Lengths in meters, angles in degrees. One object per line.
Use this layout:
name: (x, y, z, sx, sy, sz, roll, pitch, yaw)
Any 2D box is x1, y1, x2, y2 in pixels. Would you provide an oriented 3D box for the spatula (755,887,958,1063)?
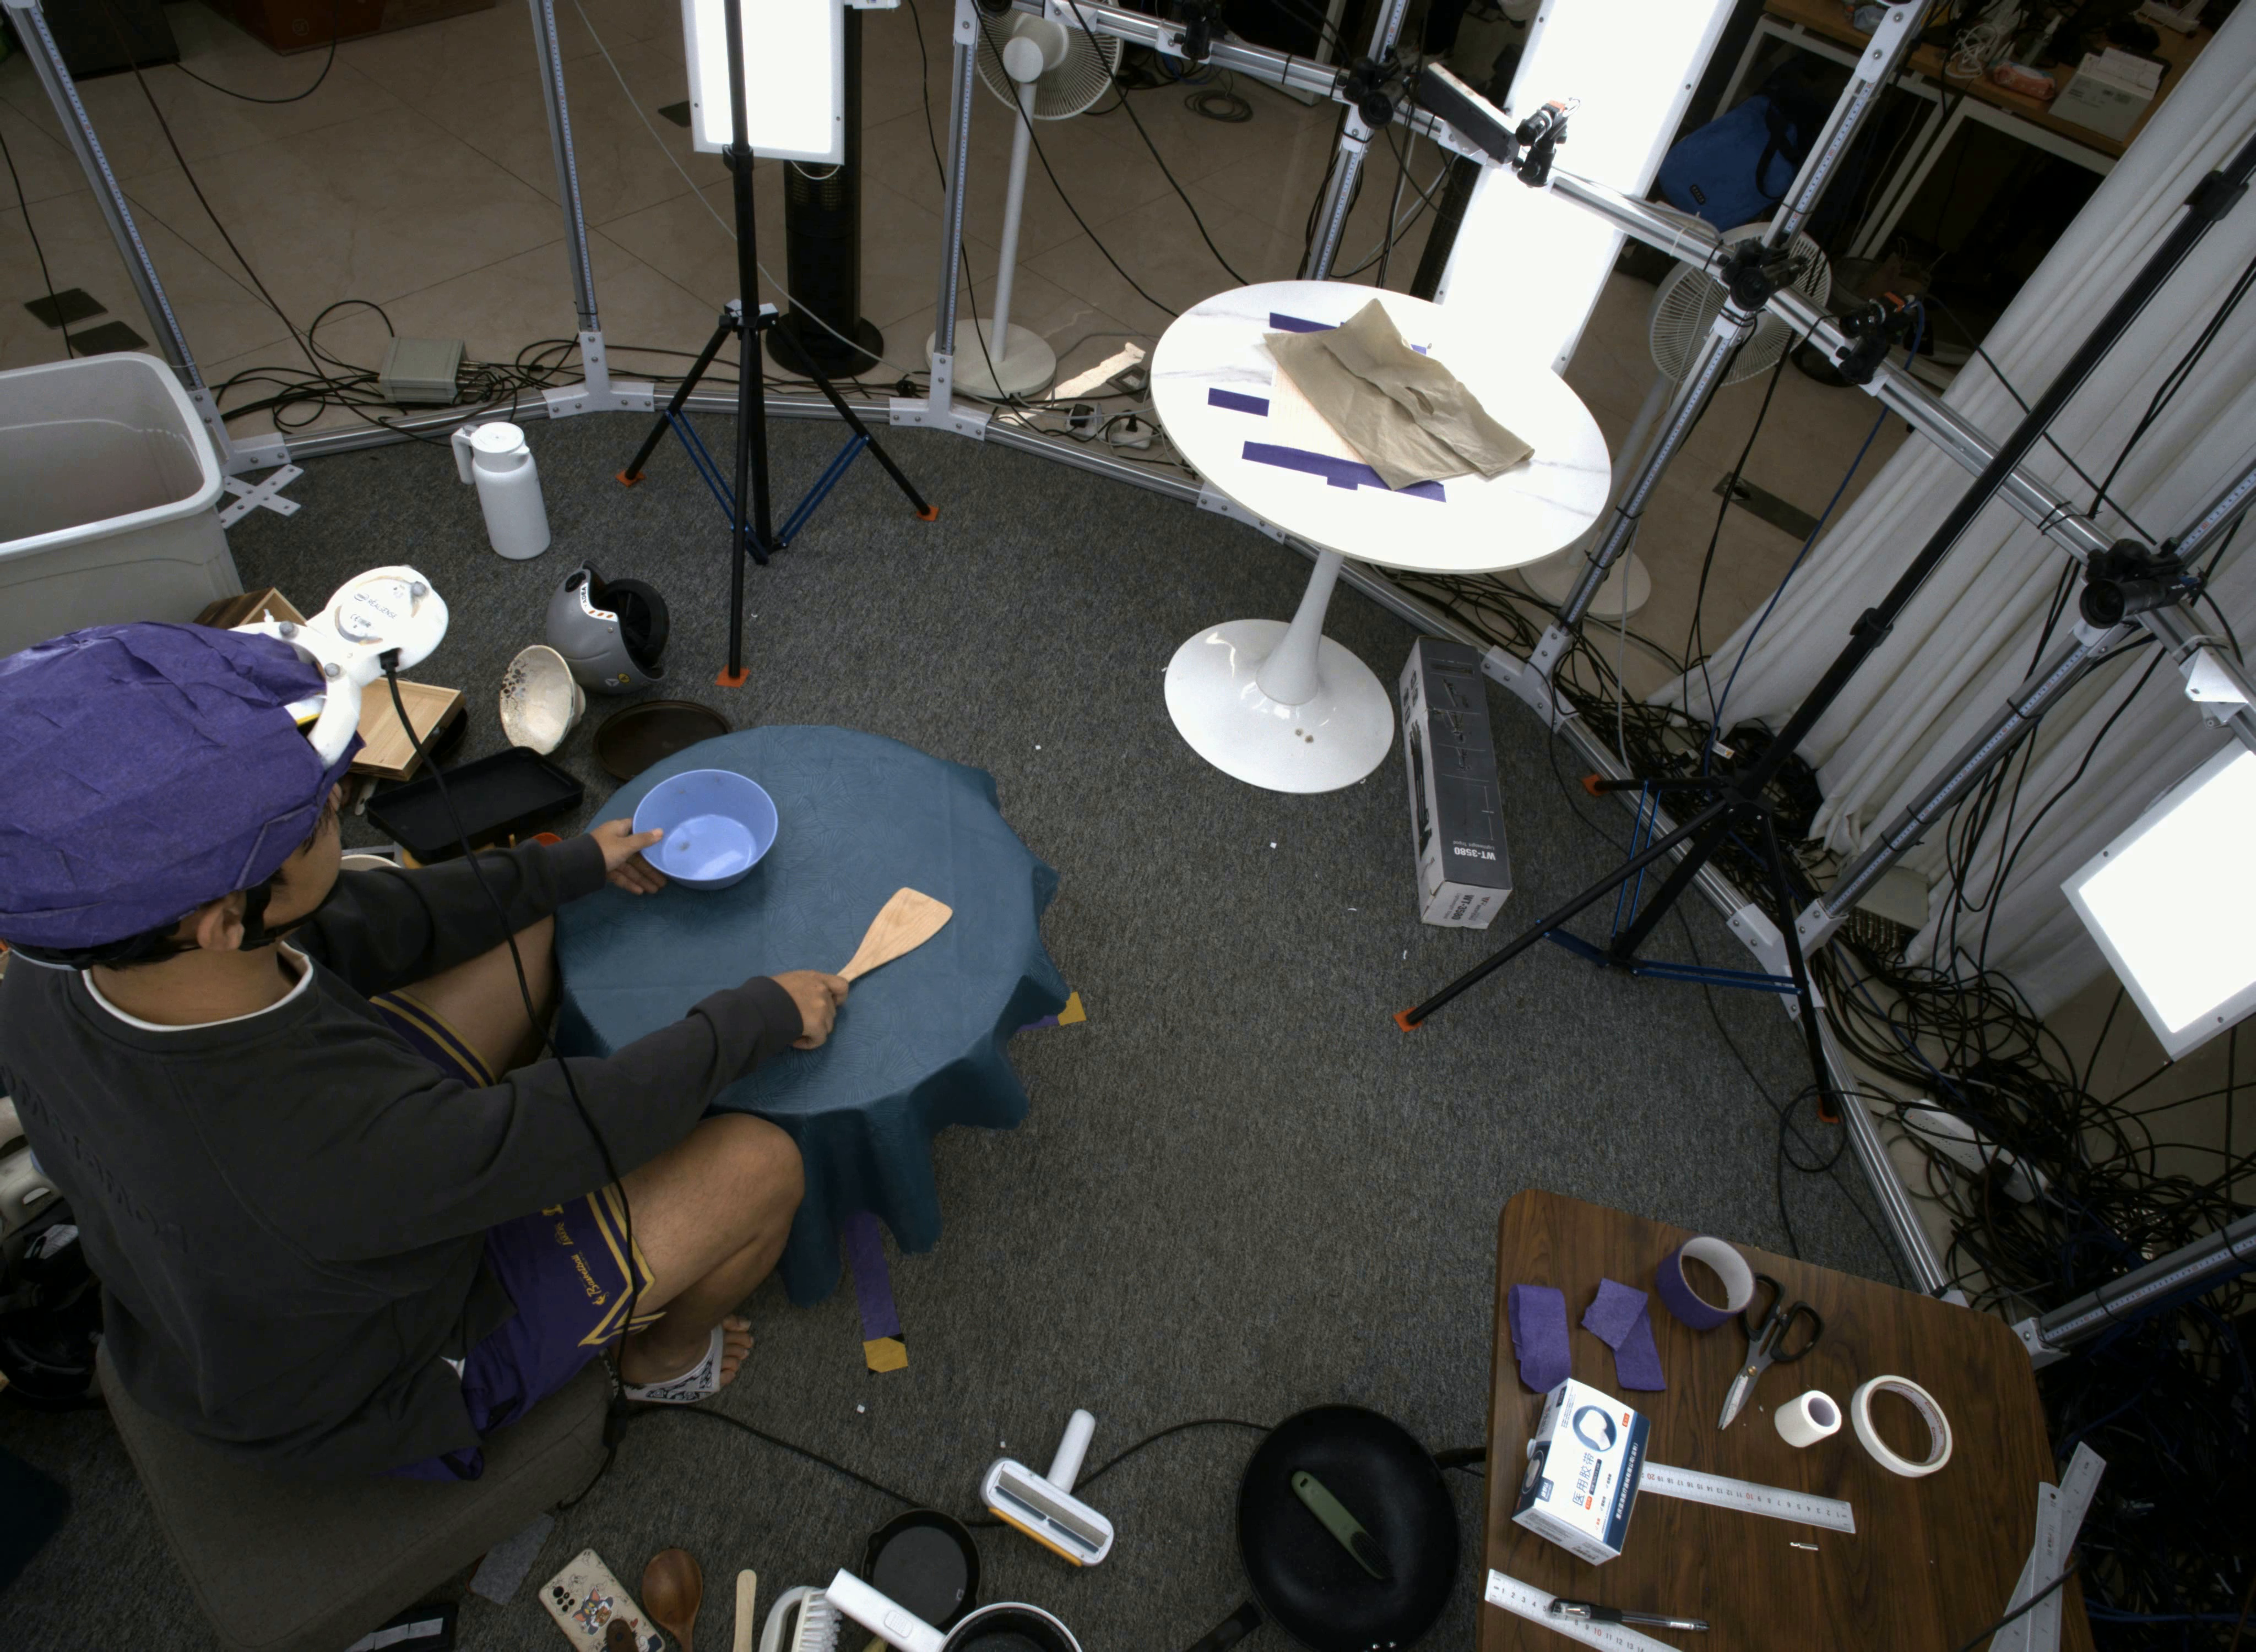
spatula: (-0.338, 0.178, 1.599, 0.078, 0.017, 0.327, 35, 48, 13)

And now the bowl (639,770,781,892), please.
bowl: (-0.530, 0.016, 1.644, 0.176, 0.072, 0.173, 8, 52, -8)
